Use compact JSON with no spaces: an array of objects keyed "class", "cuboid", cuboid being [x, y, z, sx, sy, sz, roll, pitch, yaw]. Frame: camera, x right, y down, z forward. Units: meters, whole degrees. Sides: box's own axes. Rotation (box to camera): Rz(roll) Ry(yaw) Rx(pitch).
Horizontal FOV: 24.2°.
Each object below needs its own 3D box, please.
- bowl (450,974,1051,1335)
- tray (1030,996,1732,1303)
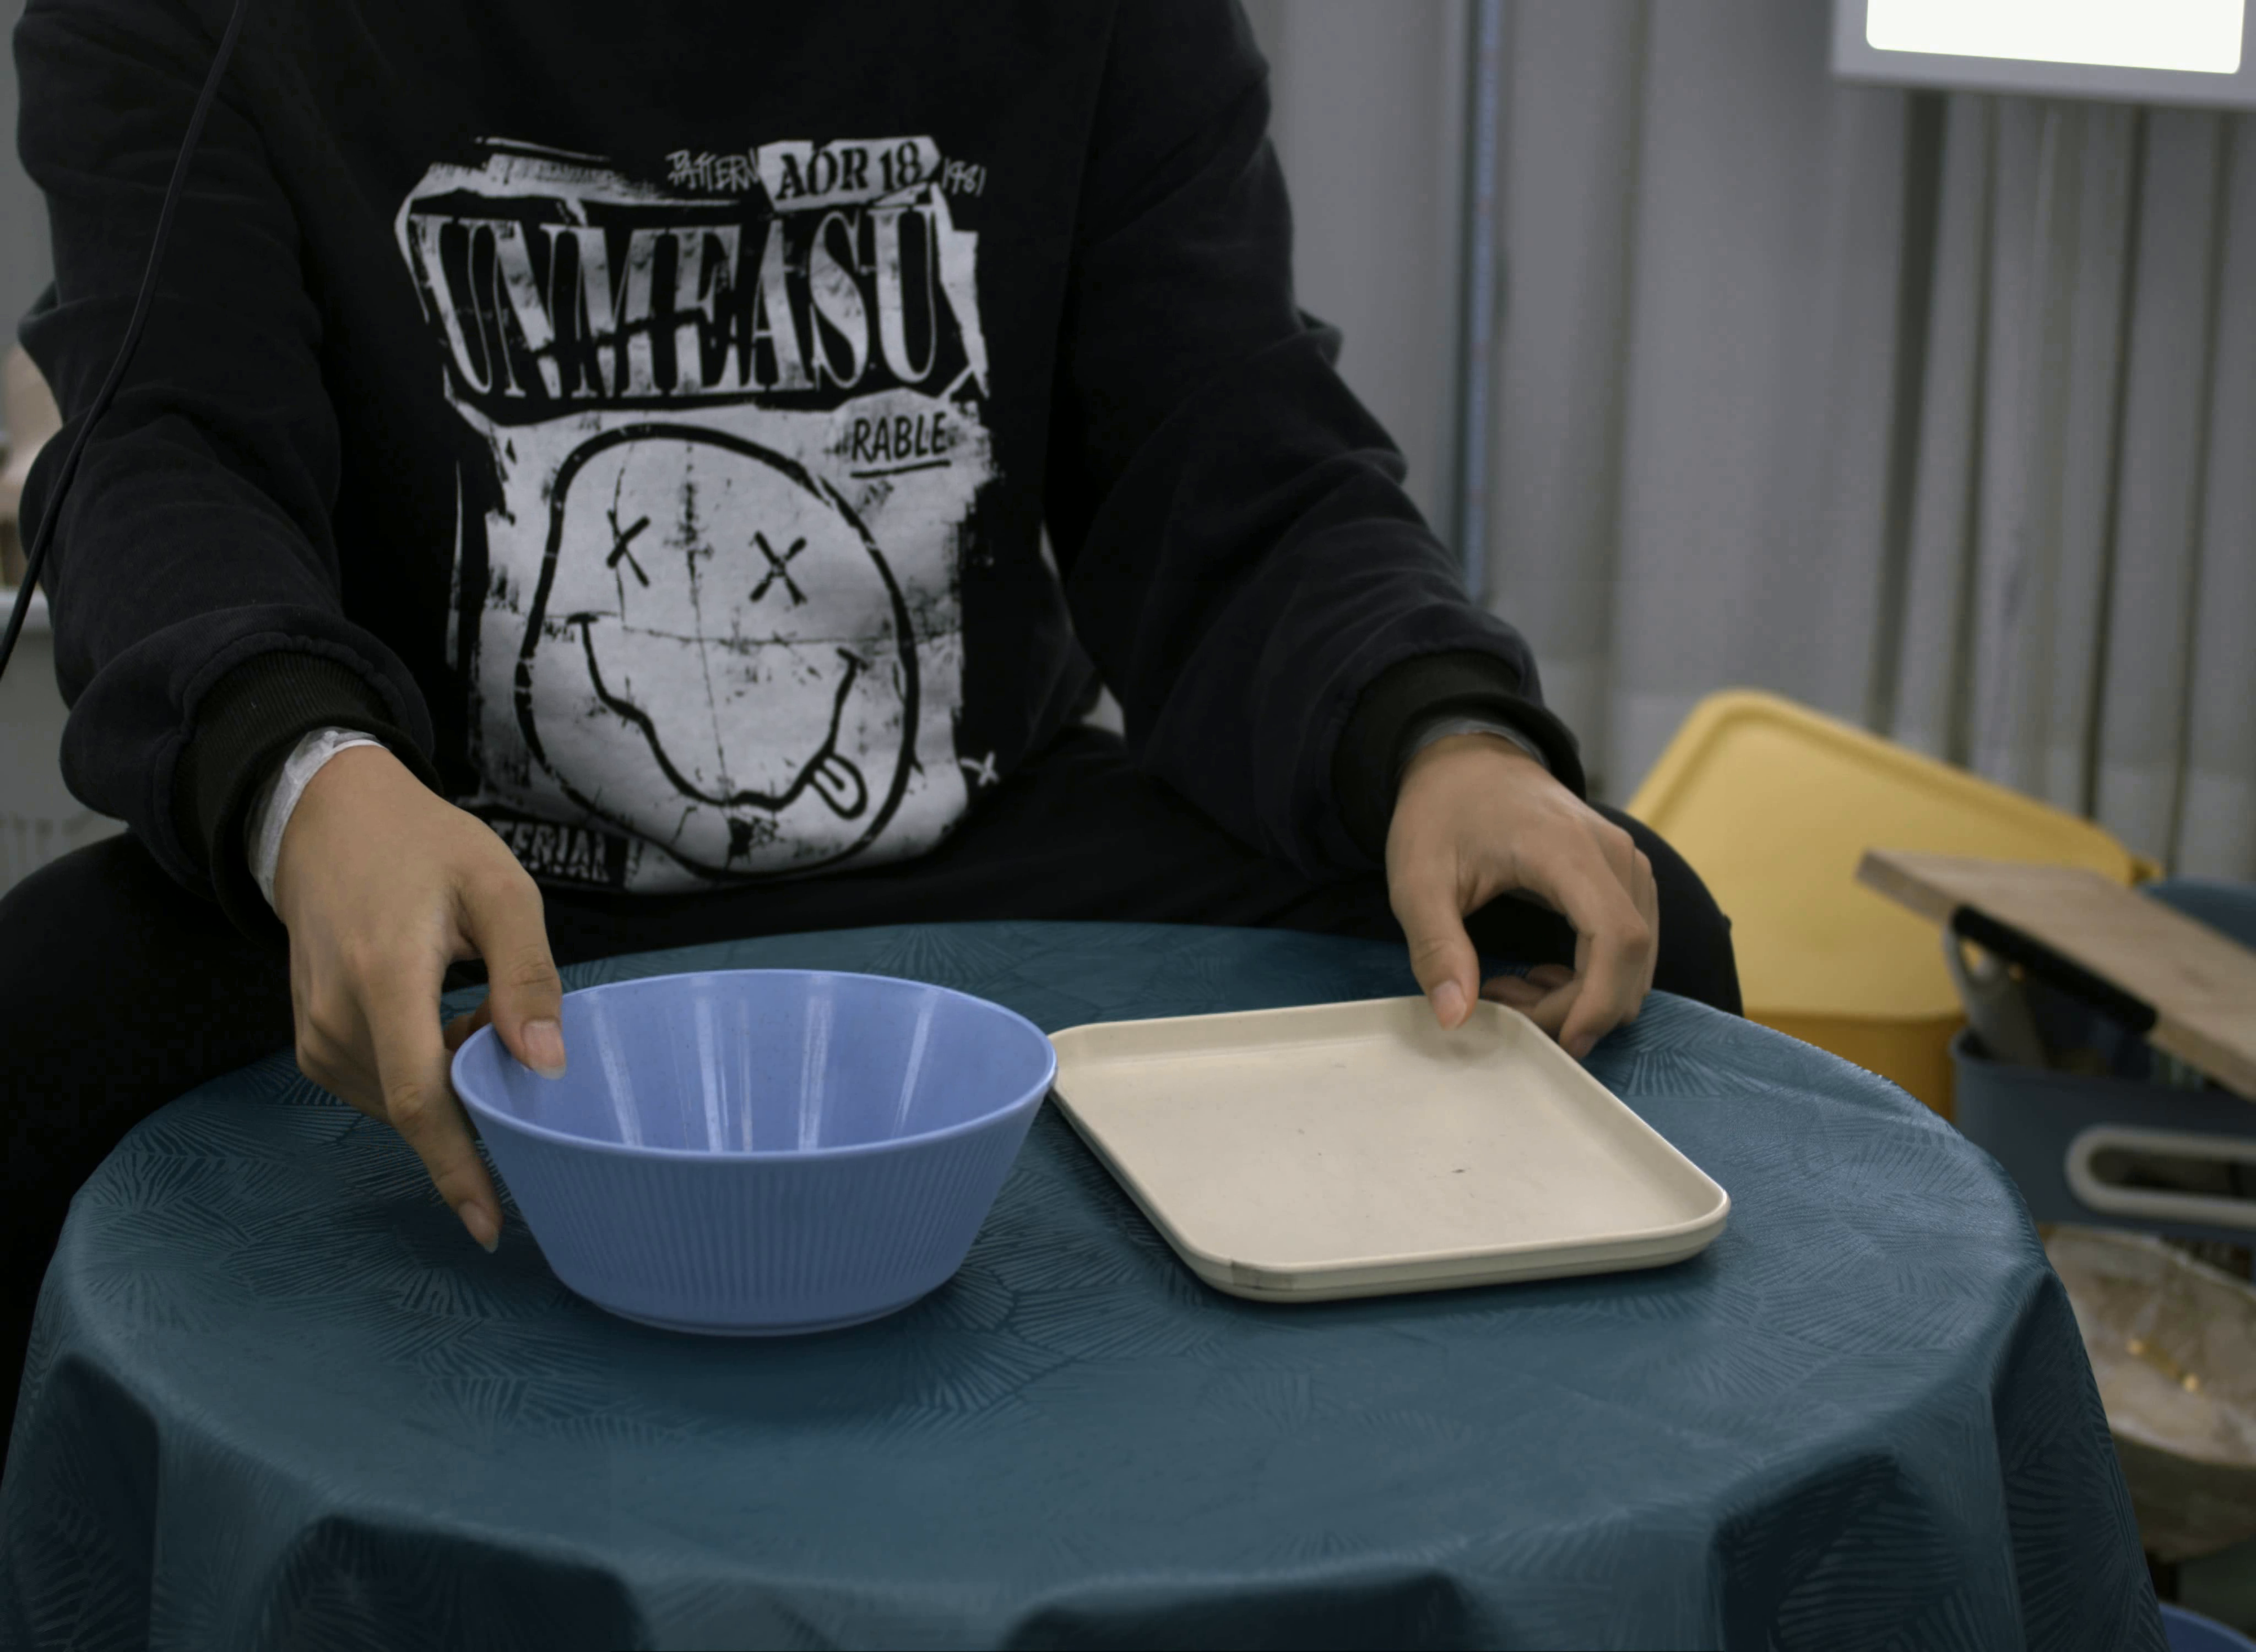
[{"class":"bowl","cuboid":[-0.110,0.098,1.542,0.175,0.071,0.175,2,16,0]},{"class":"tray","cuboid":[0.074,0.099,1.644,0.171,0.017,0.237,-3,16,-16]}]
